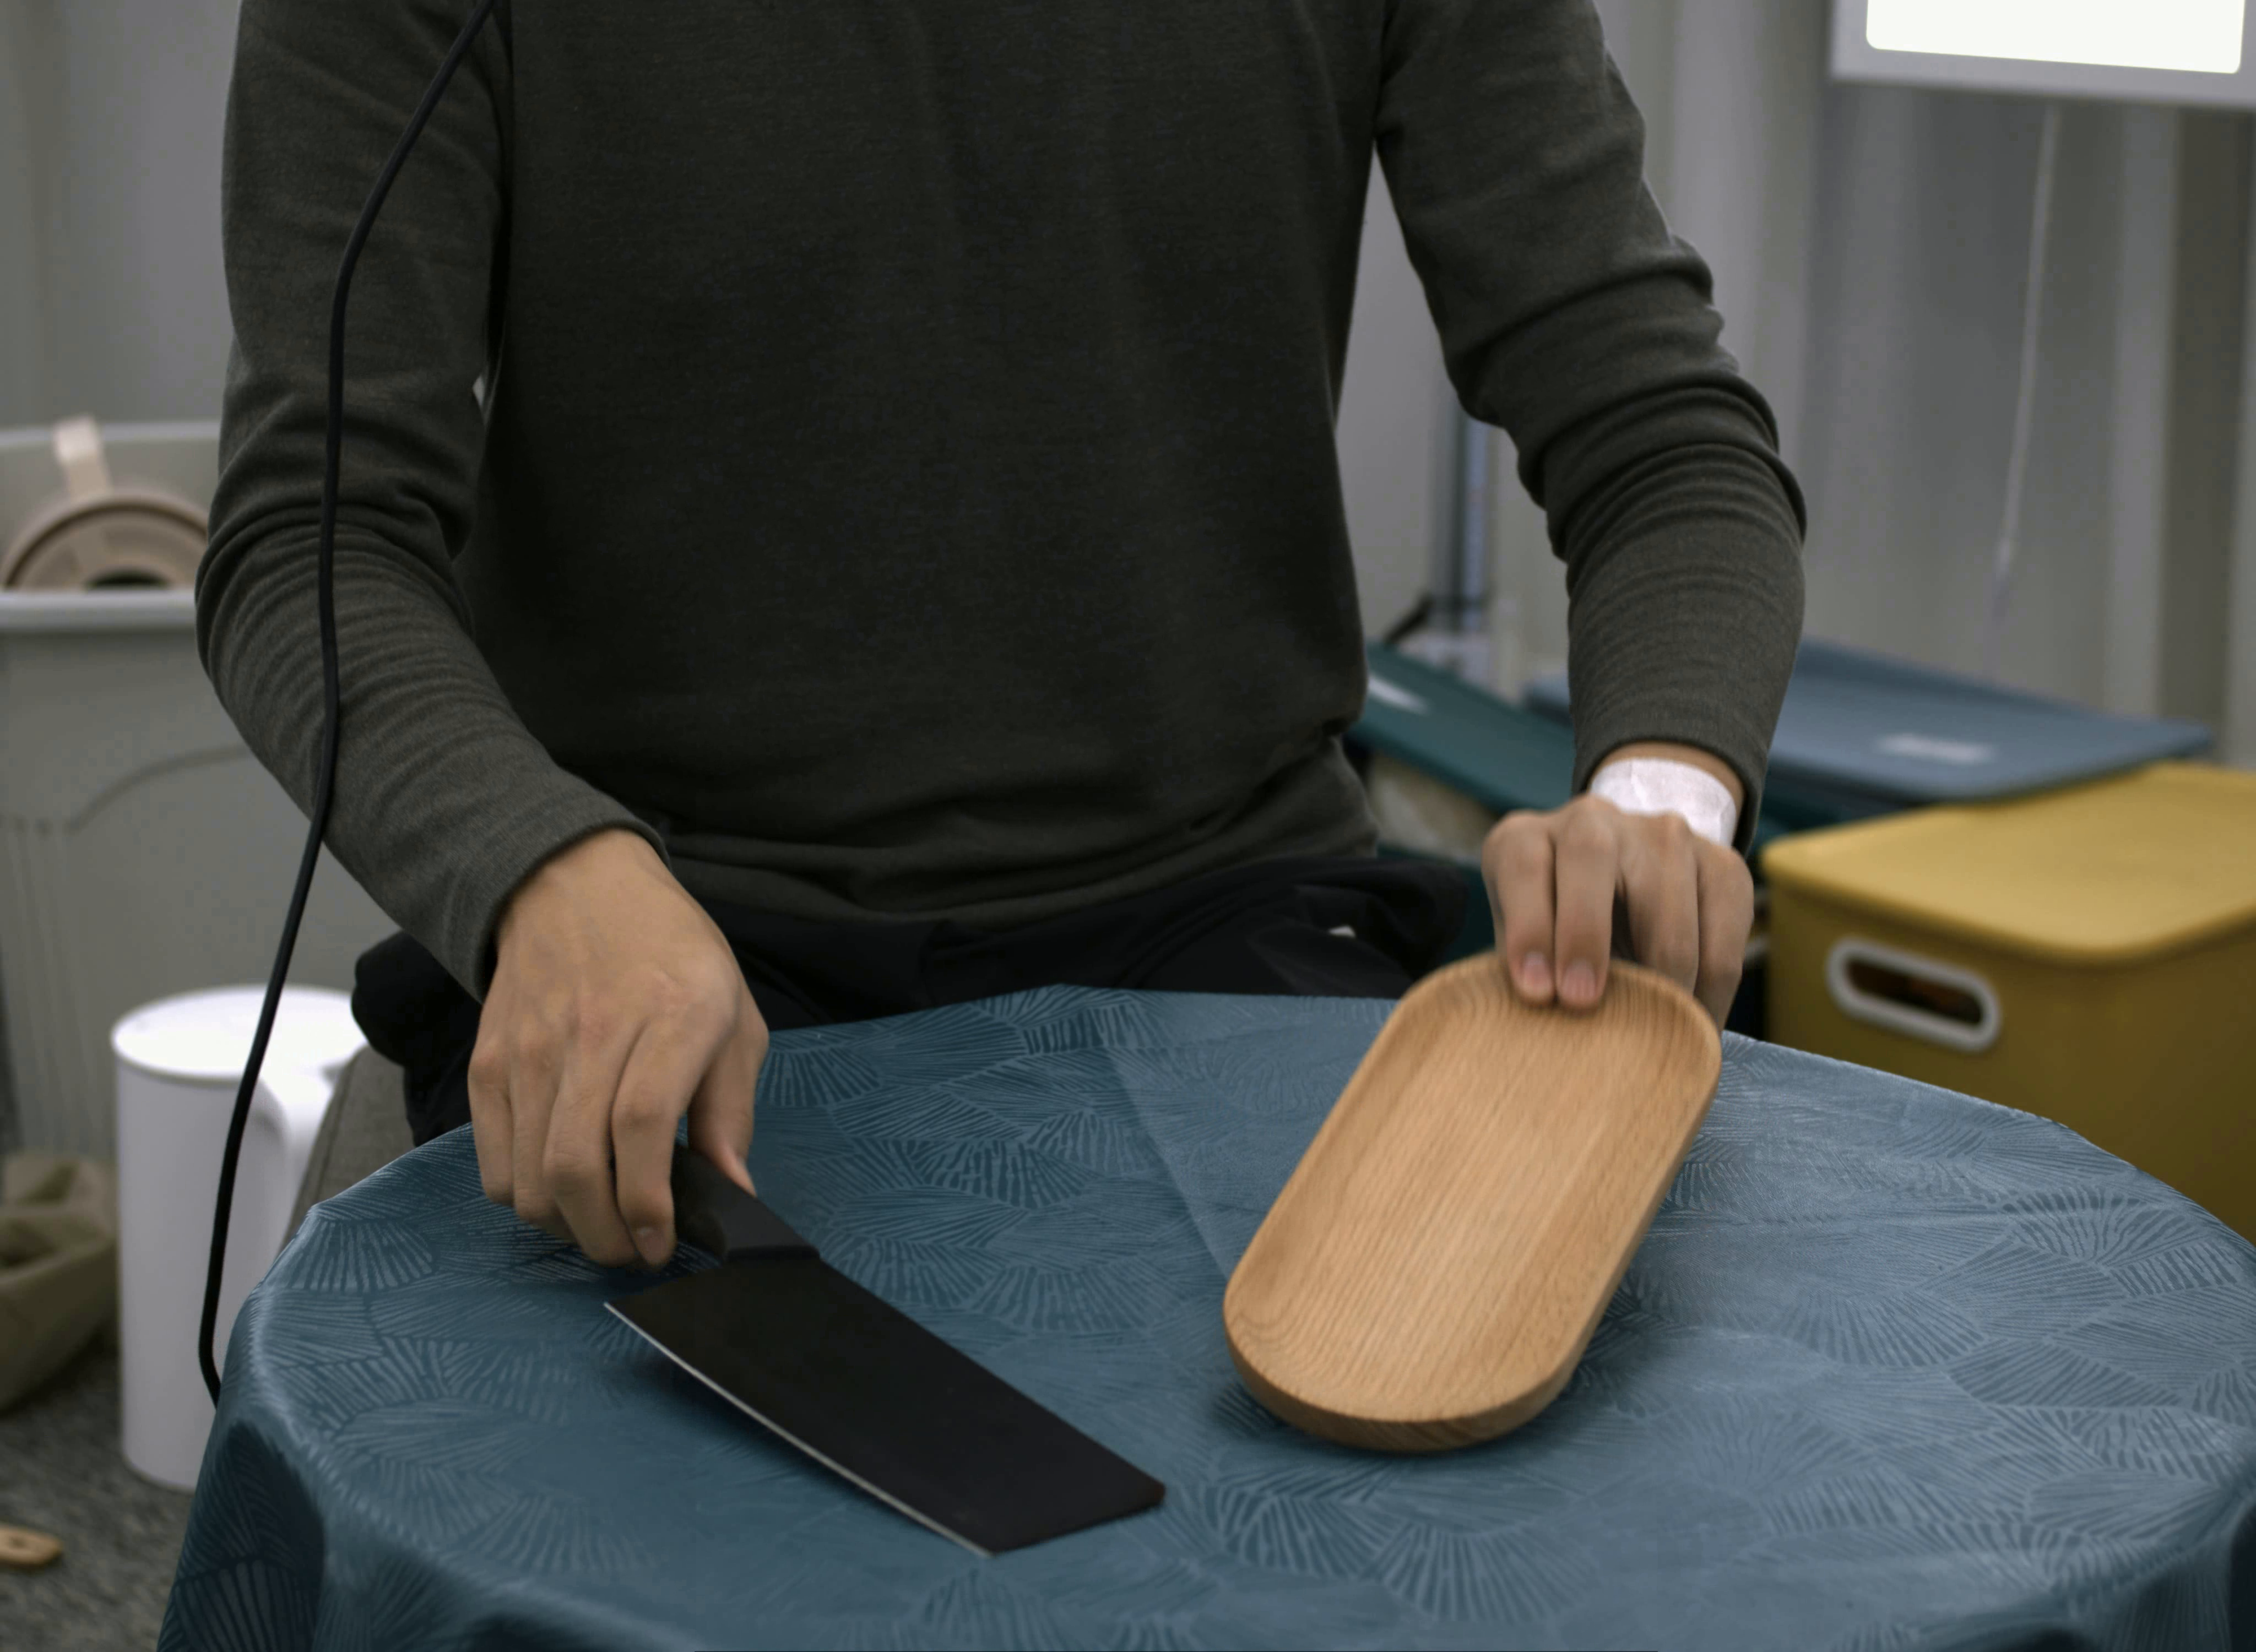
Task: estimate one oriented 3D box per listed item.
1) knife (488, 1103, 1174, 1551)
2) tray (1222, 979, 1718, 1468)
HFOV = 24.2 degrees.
[{"bbox_3d":[-0.099,0.137,1.473,0.081,0.021,0.298,-10,24,-32],"label":"knife"},{"bbox_3d":[0.100,0.110,1.502,0.101,0.020,0.230,10,34,18],"label":"tray"}]
